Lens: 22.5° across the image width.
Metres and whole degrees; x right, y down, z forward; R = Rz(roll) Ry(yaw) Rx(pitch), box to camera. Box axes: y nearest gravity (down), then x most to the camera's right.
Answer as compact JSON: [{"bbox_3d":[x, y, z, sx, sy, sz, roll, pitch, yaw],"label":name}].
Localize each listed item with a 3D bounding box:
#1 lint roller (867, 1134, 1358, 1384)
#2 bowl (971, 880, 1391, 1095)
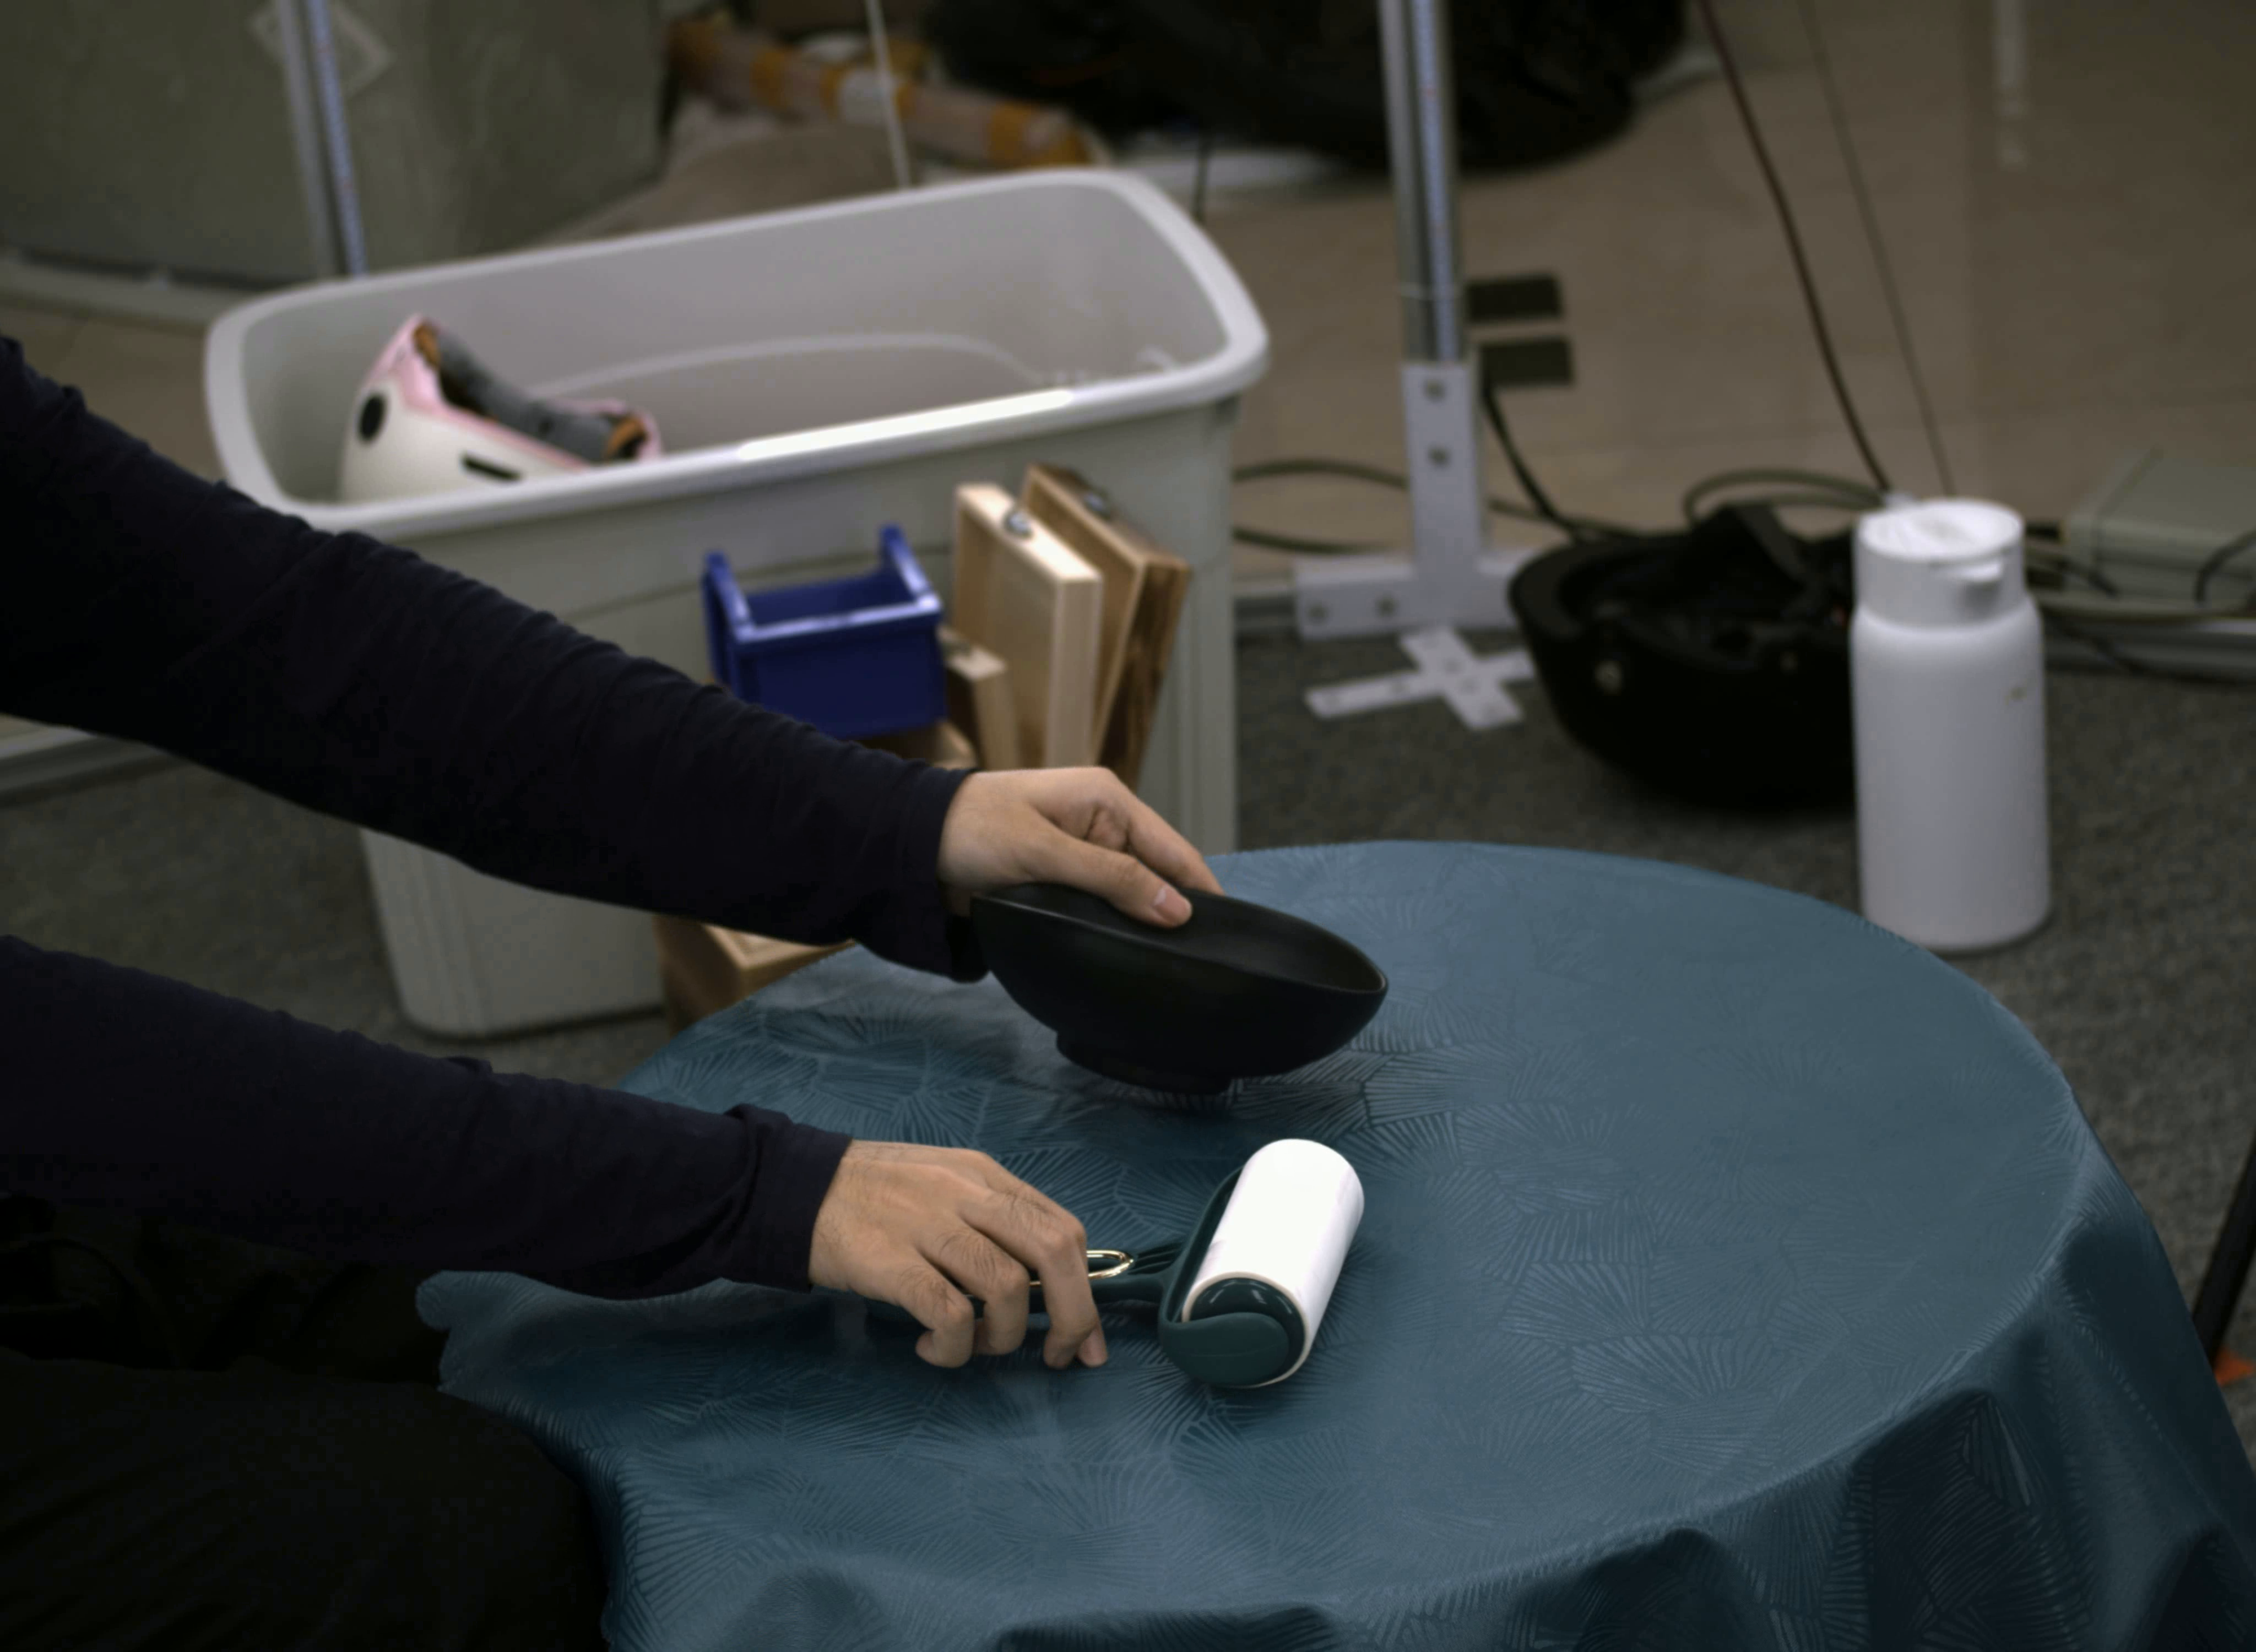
[{"bbox_3d":[-0.013,0.160,2.062,0.180,0.049,0.132,-3,25,16],"label":"lint roller"},{"bbox_3d":[0.015,0.065,2.201,0.169,0.067,0.137,14,10,17],"label":"bowl"}]
